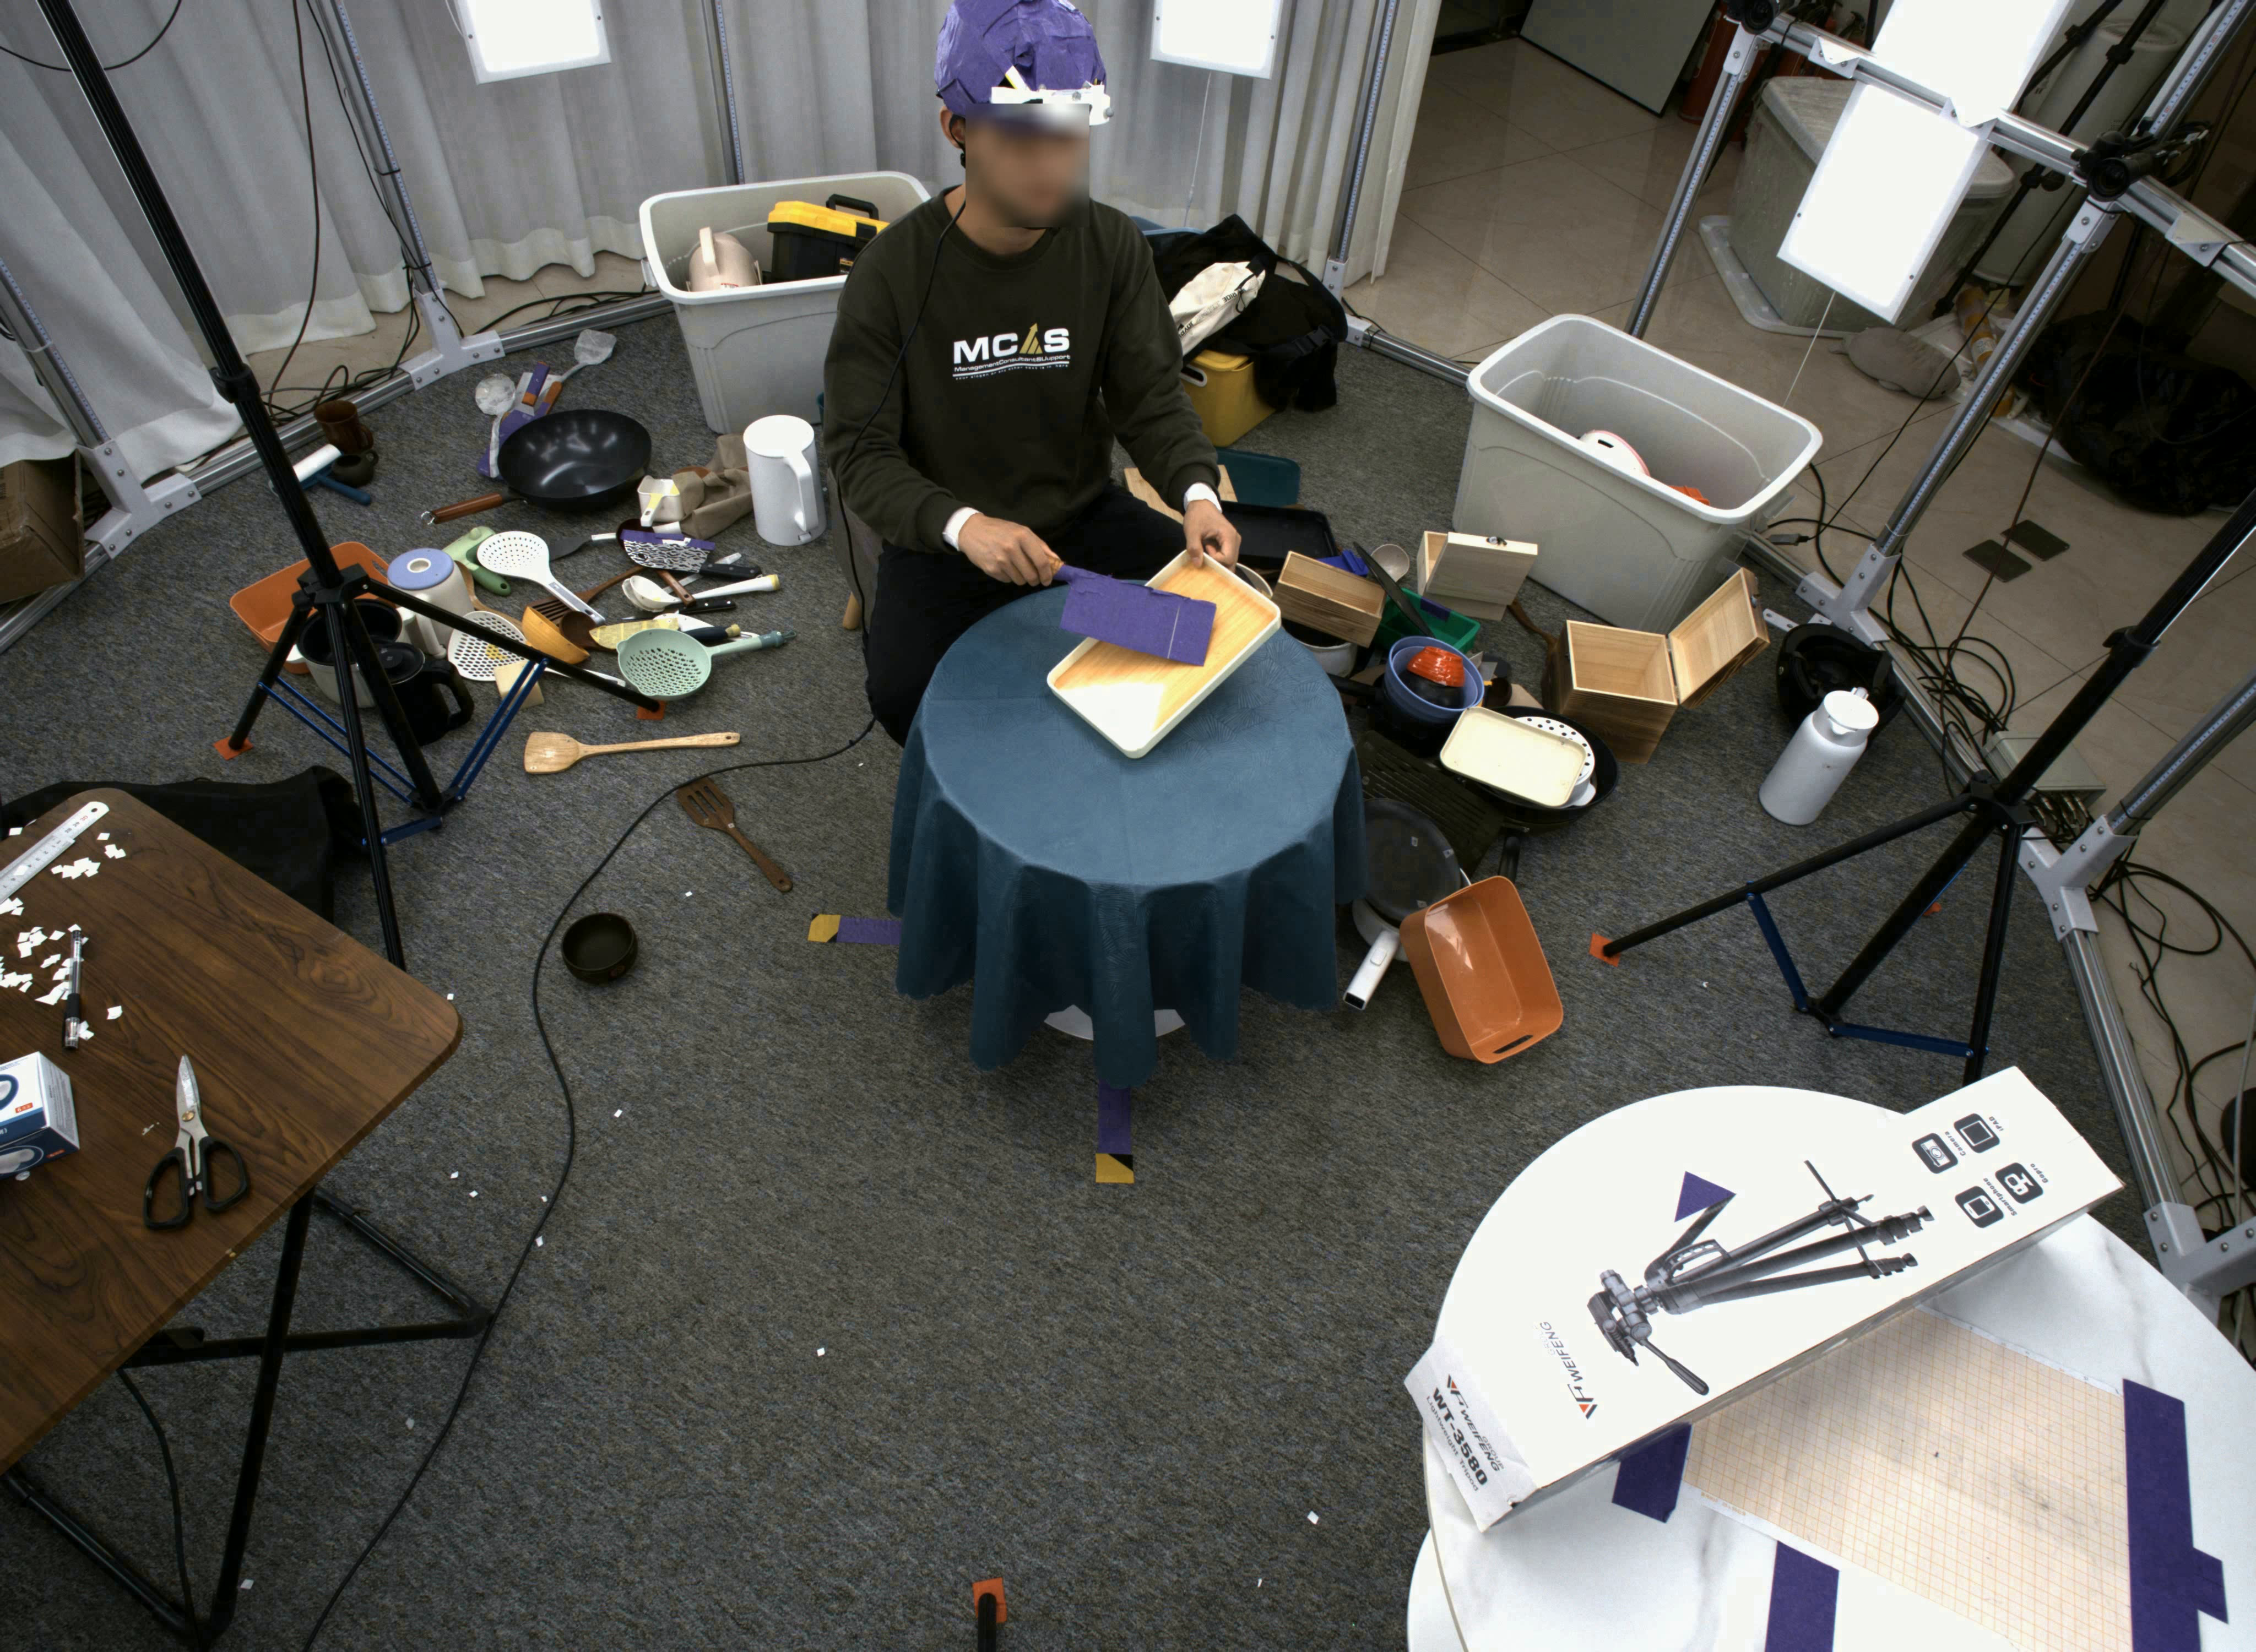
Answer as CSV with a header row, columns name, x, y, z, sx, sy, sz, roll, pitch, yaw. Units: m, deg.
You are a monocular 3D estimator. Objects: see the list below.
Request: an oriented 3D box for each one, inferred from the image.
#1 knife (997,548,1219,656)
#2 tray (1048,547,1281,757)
name,x,y,z,sx,sy,sz,roll,pitch,yaw
knife,-0.034,-0.308,1.785,0.315,0.032,0.104,13,83,1
tray,0.051,-0.249,1.804,0.302,0.027,0.195,-43,61,-10
